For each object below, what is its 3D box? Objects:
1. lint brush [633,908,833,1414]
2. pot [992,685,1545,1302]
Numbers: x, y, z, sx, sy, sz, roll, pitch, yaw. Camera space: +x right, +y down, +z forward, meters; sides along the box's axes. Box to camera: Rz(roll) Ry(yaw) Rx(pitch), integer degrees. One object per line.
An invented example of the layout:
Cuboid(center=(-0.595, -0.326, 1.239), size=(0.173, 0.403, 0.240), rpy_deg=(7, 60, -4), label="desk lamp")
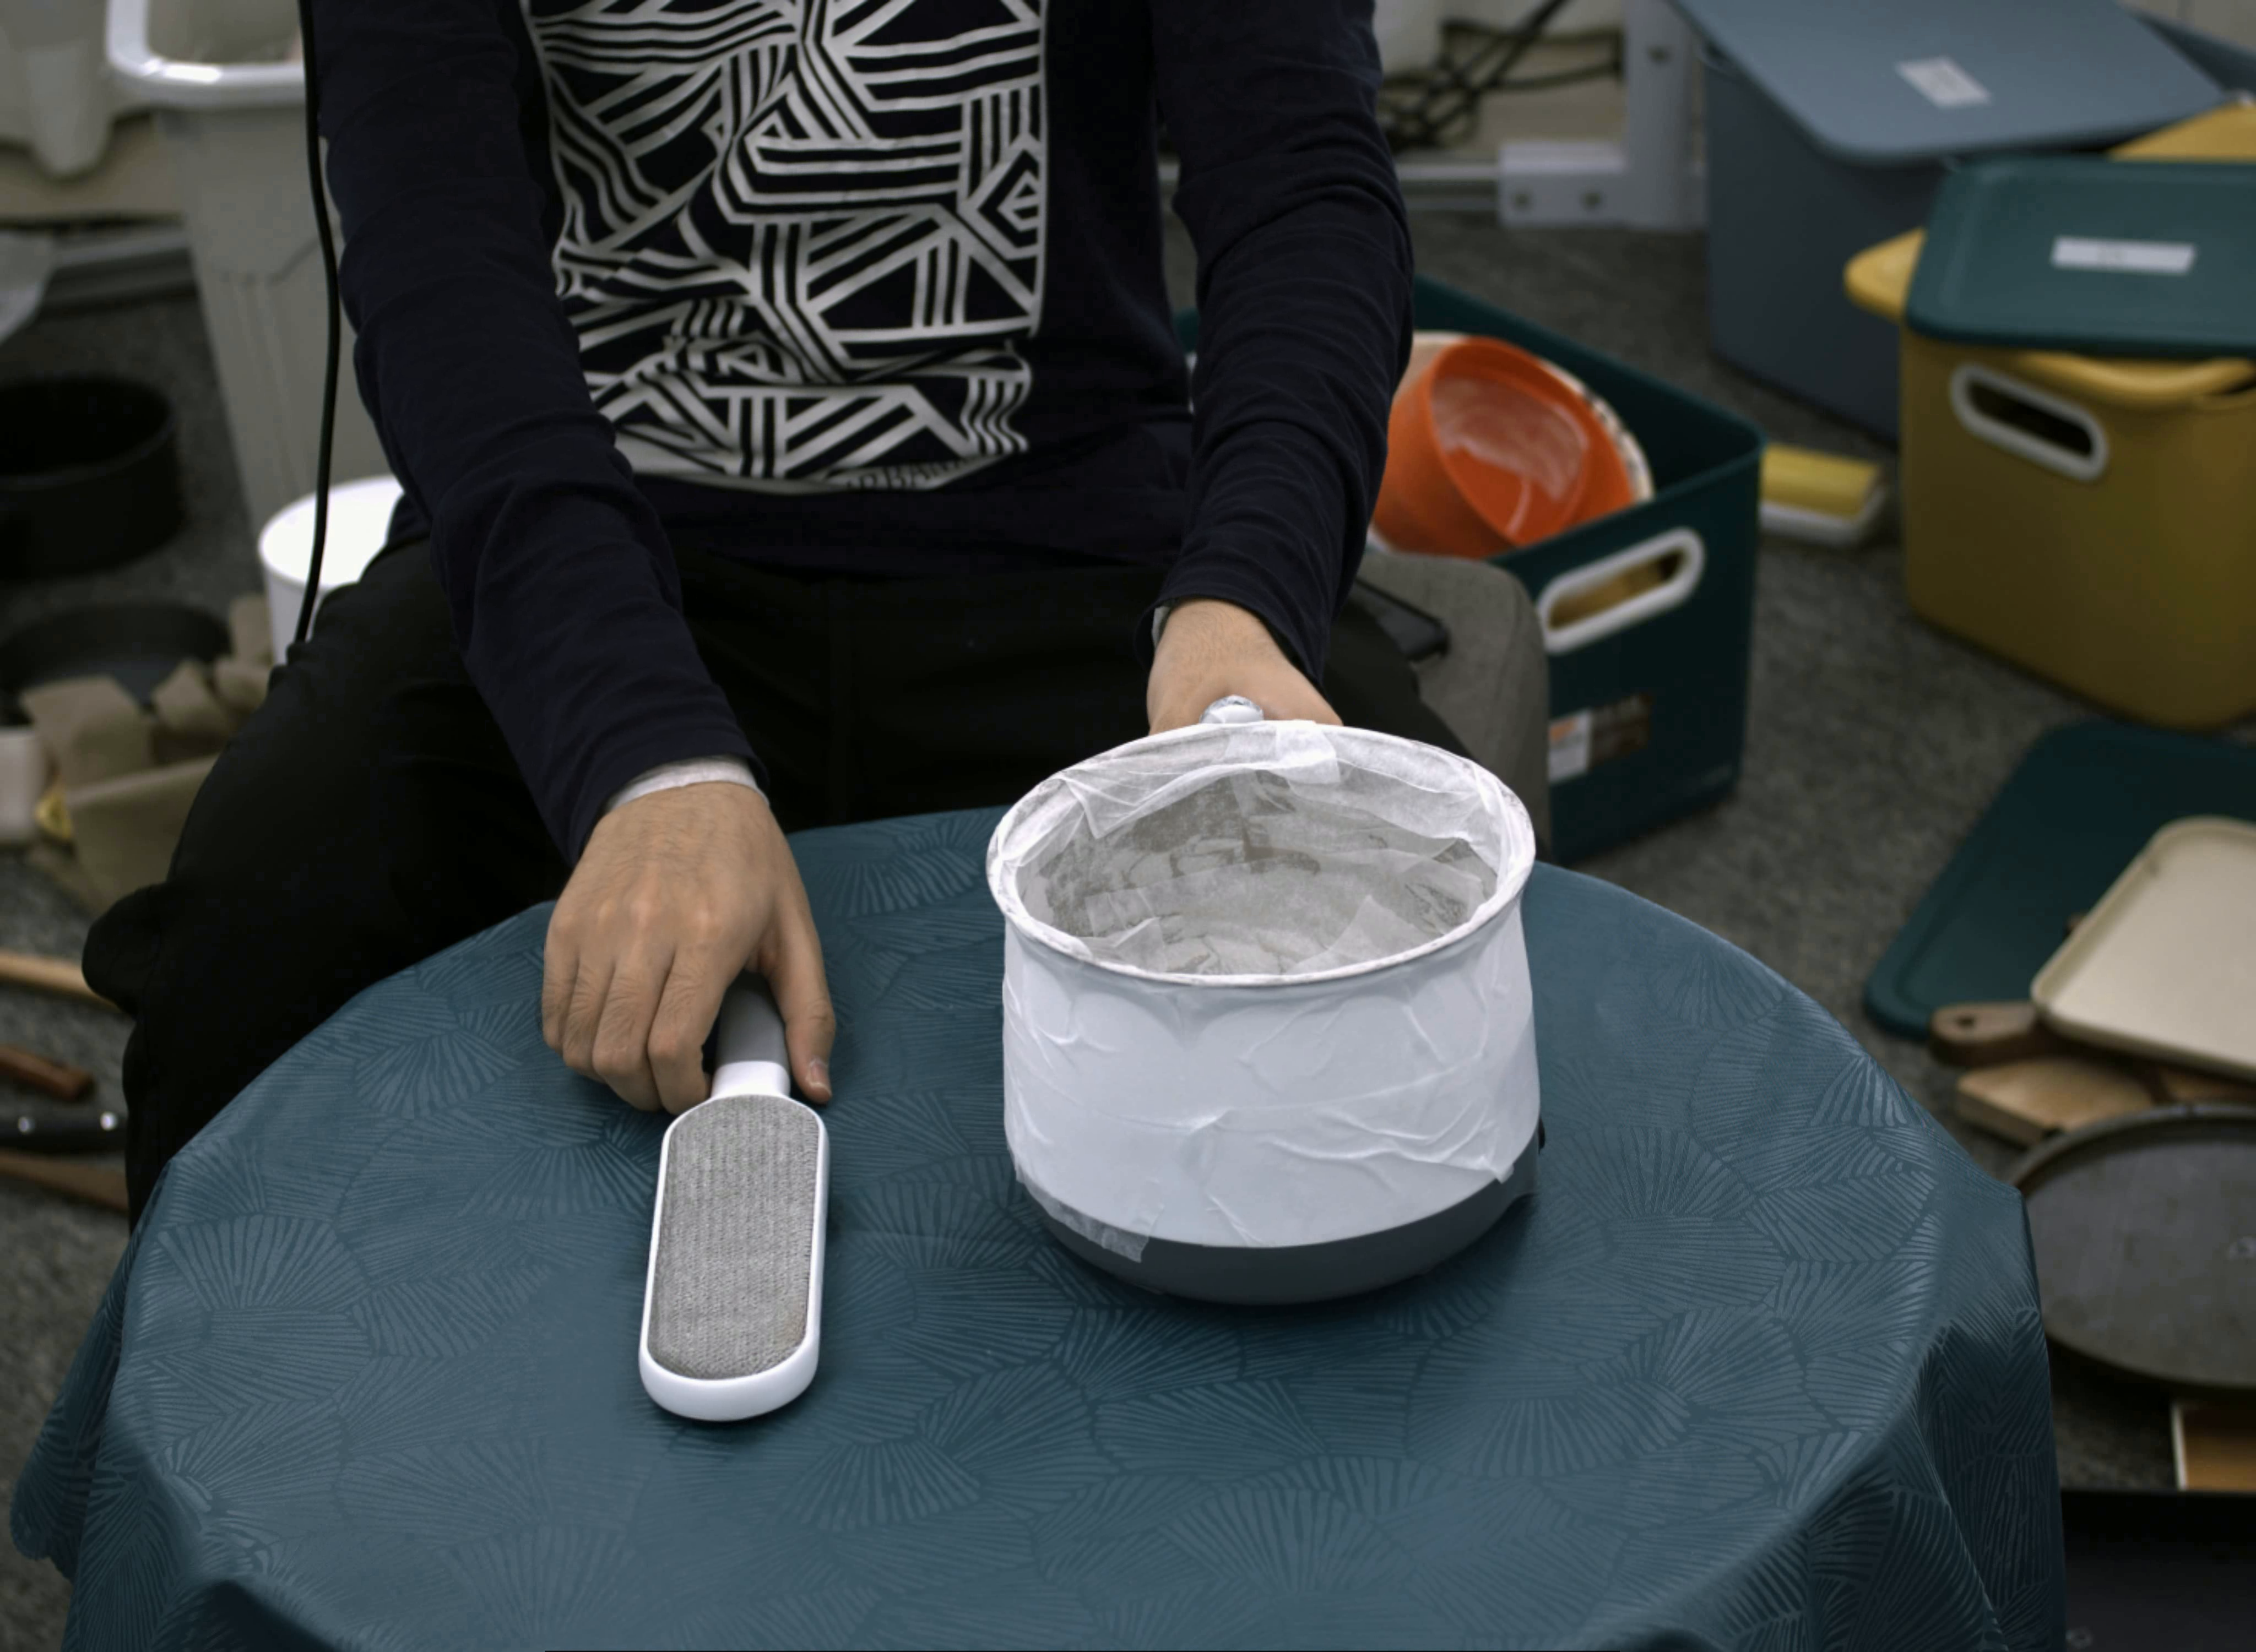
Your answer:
Cuboid(center=(-0.127, 0.106, 1.874), size=(0.060, 0.021, 0.313), rpy_deg=(-8, 27, 3), label="lint brush")
Cuboid(center=(0.043, 0.047, 1.849), size=(0.178, 0.135, 0.237), rpy_deg=(-3, 27, -5), label="pot")
